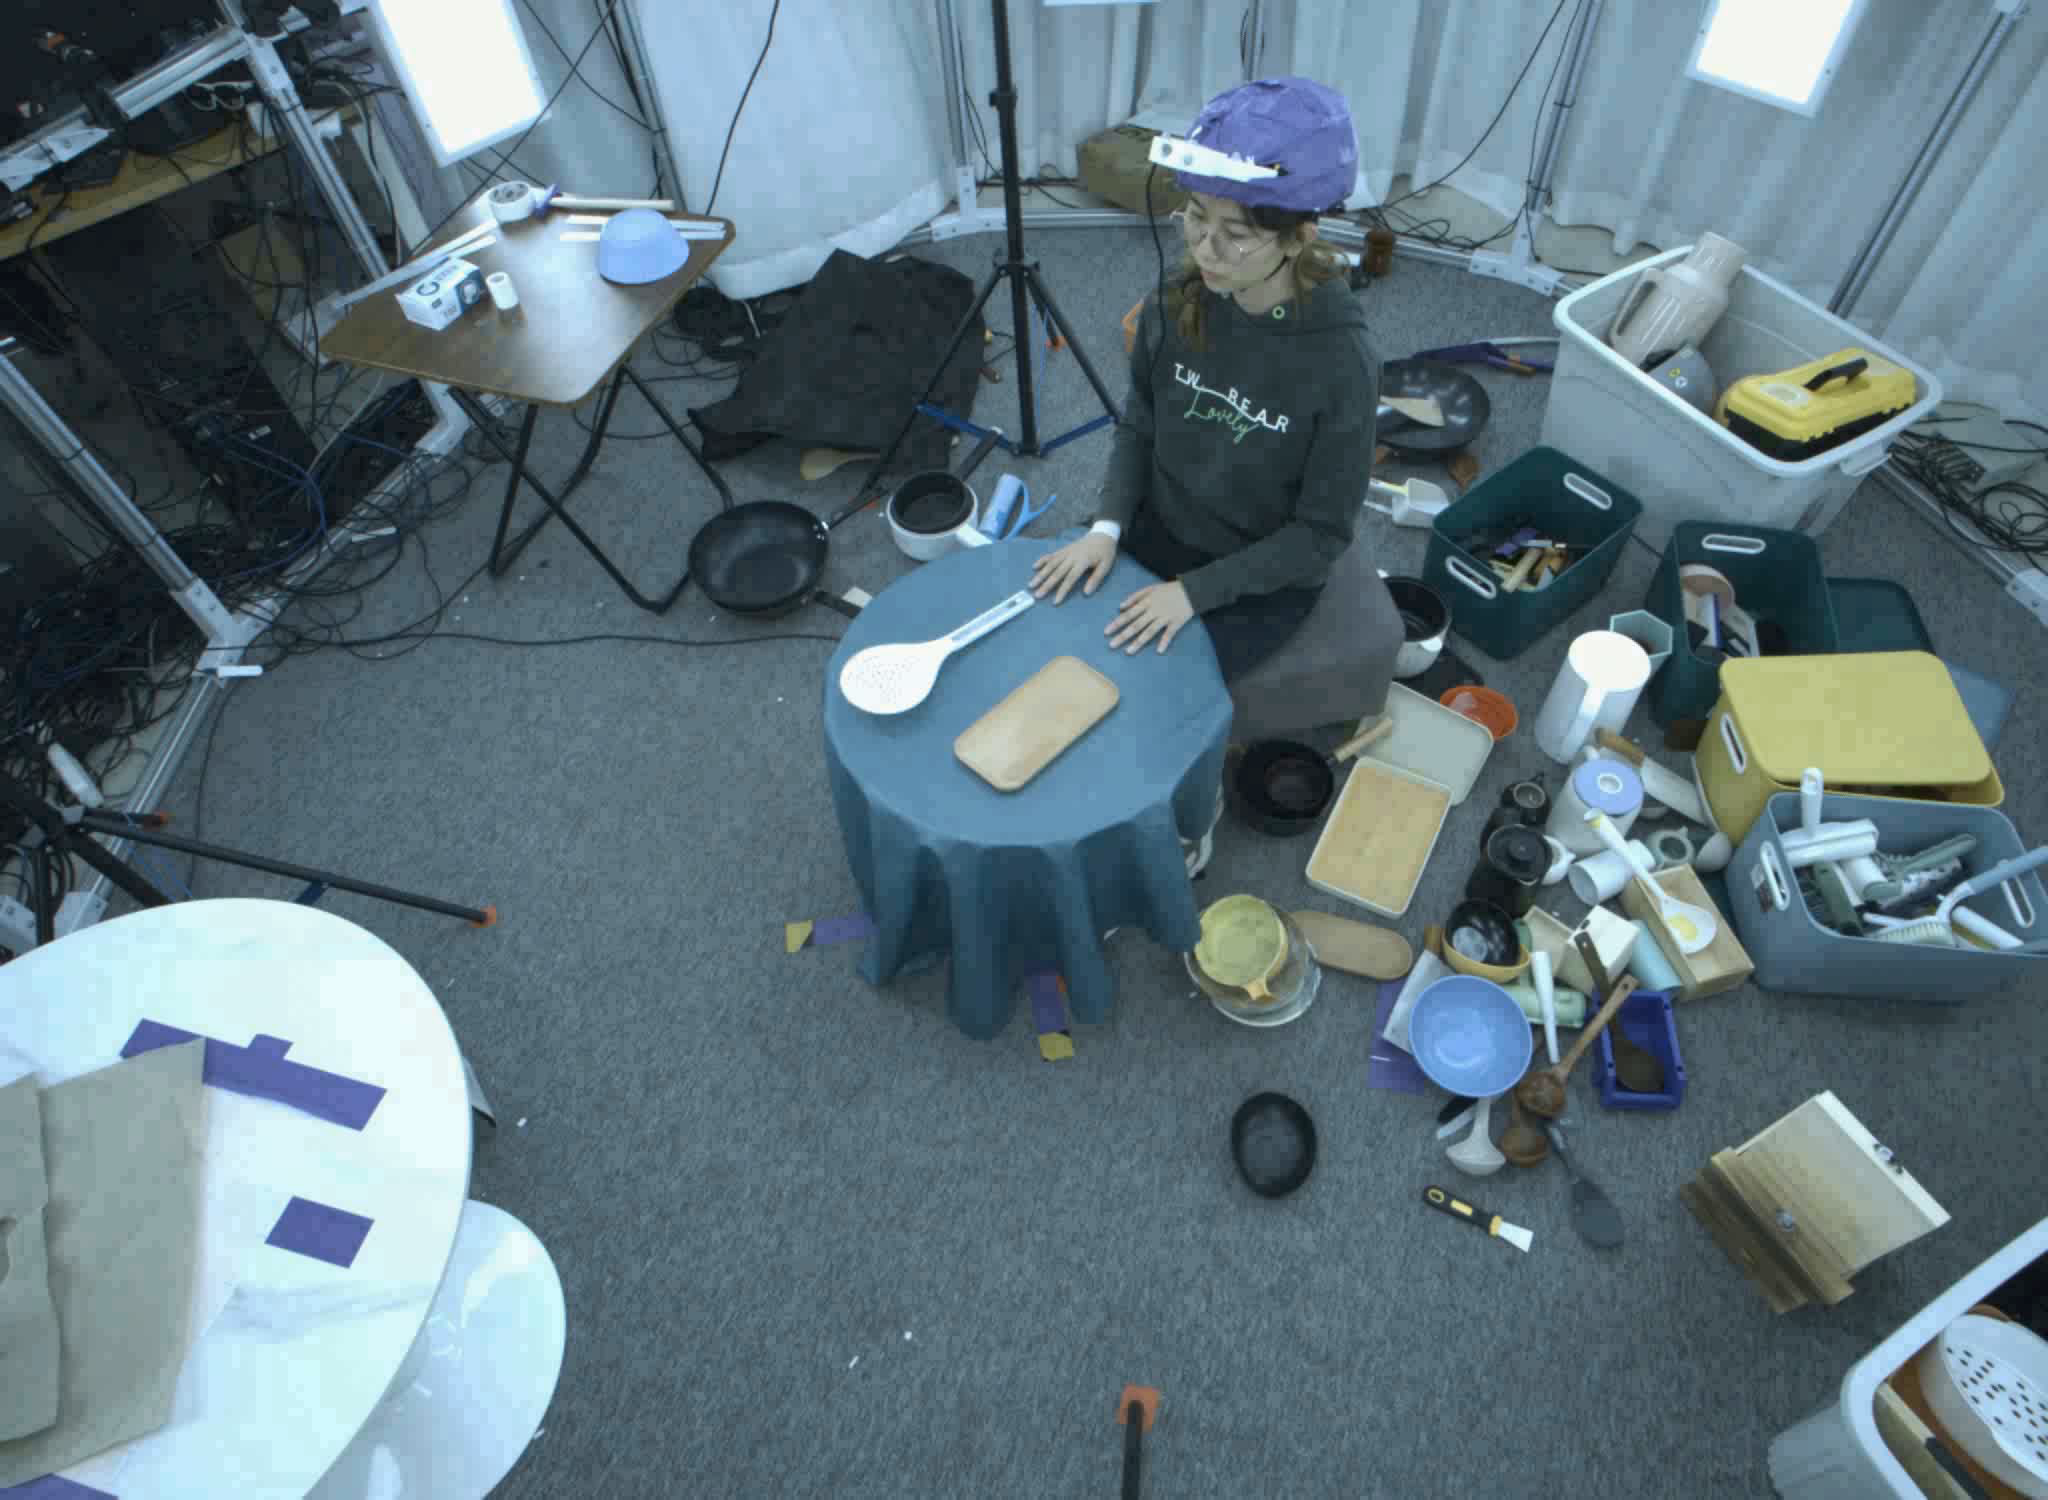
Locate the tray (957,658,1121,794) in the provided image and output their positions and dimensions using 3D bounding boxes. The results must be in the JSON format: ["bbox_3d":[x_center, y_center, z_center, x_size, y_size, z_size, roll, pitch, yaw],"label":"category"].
[{"bbox_3d":[0.024,-0.037,1.813,0.128,0.023,0.252,39,64,23],"label":"tray"}]

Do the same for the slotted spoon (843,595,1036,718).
[{"bbox_3d":[-0.121,-0.152,1.880,0.352,0.046,0.134,-36,63,-22],"label":"slotted spoon"}]
